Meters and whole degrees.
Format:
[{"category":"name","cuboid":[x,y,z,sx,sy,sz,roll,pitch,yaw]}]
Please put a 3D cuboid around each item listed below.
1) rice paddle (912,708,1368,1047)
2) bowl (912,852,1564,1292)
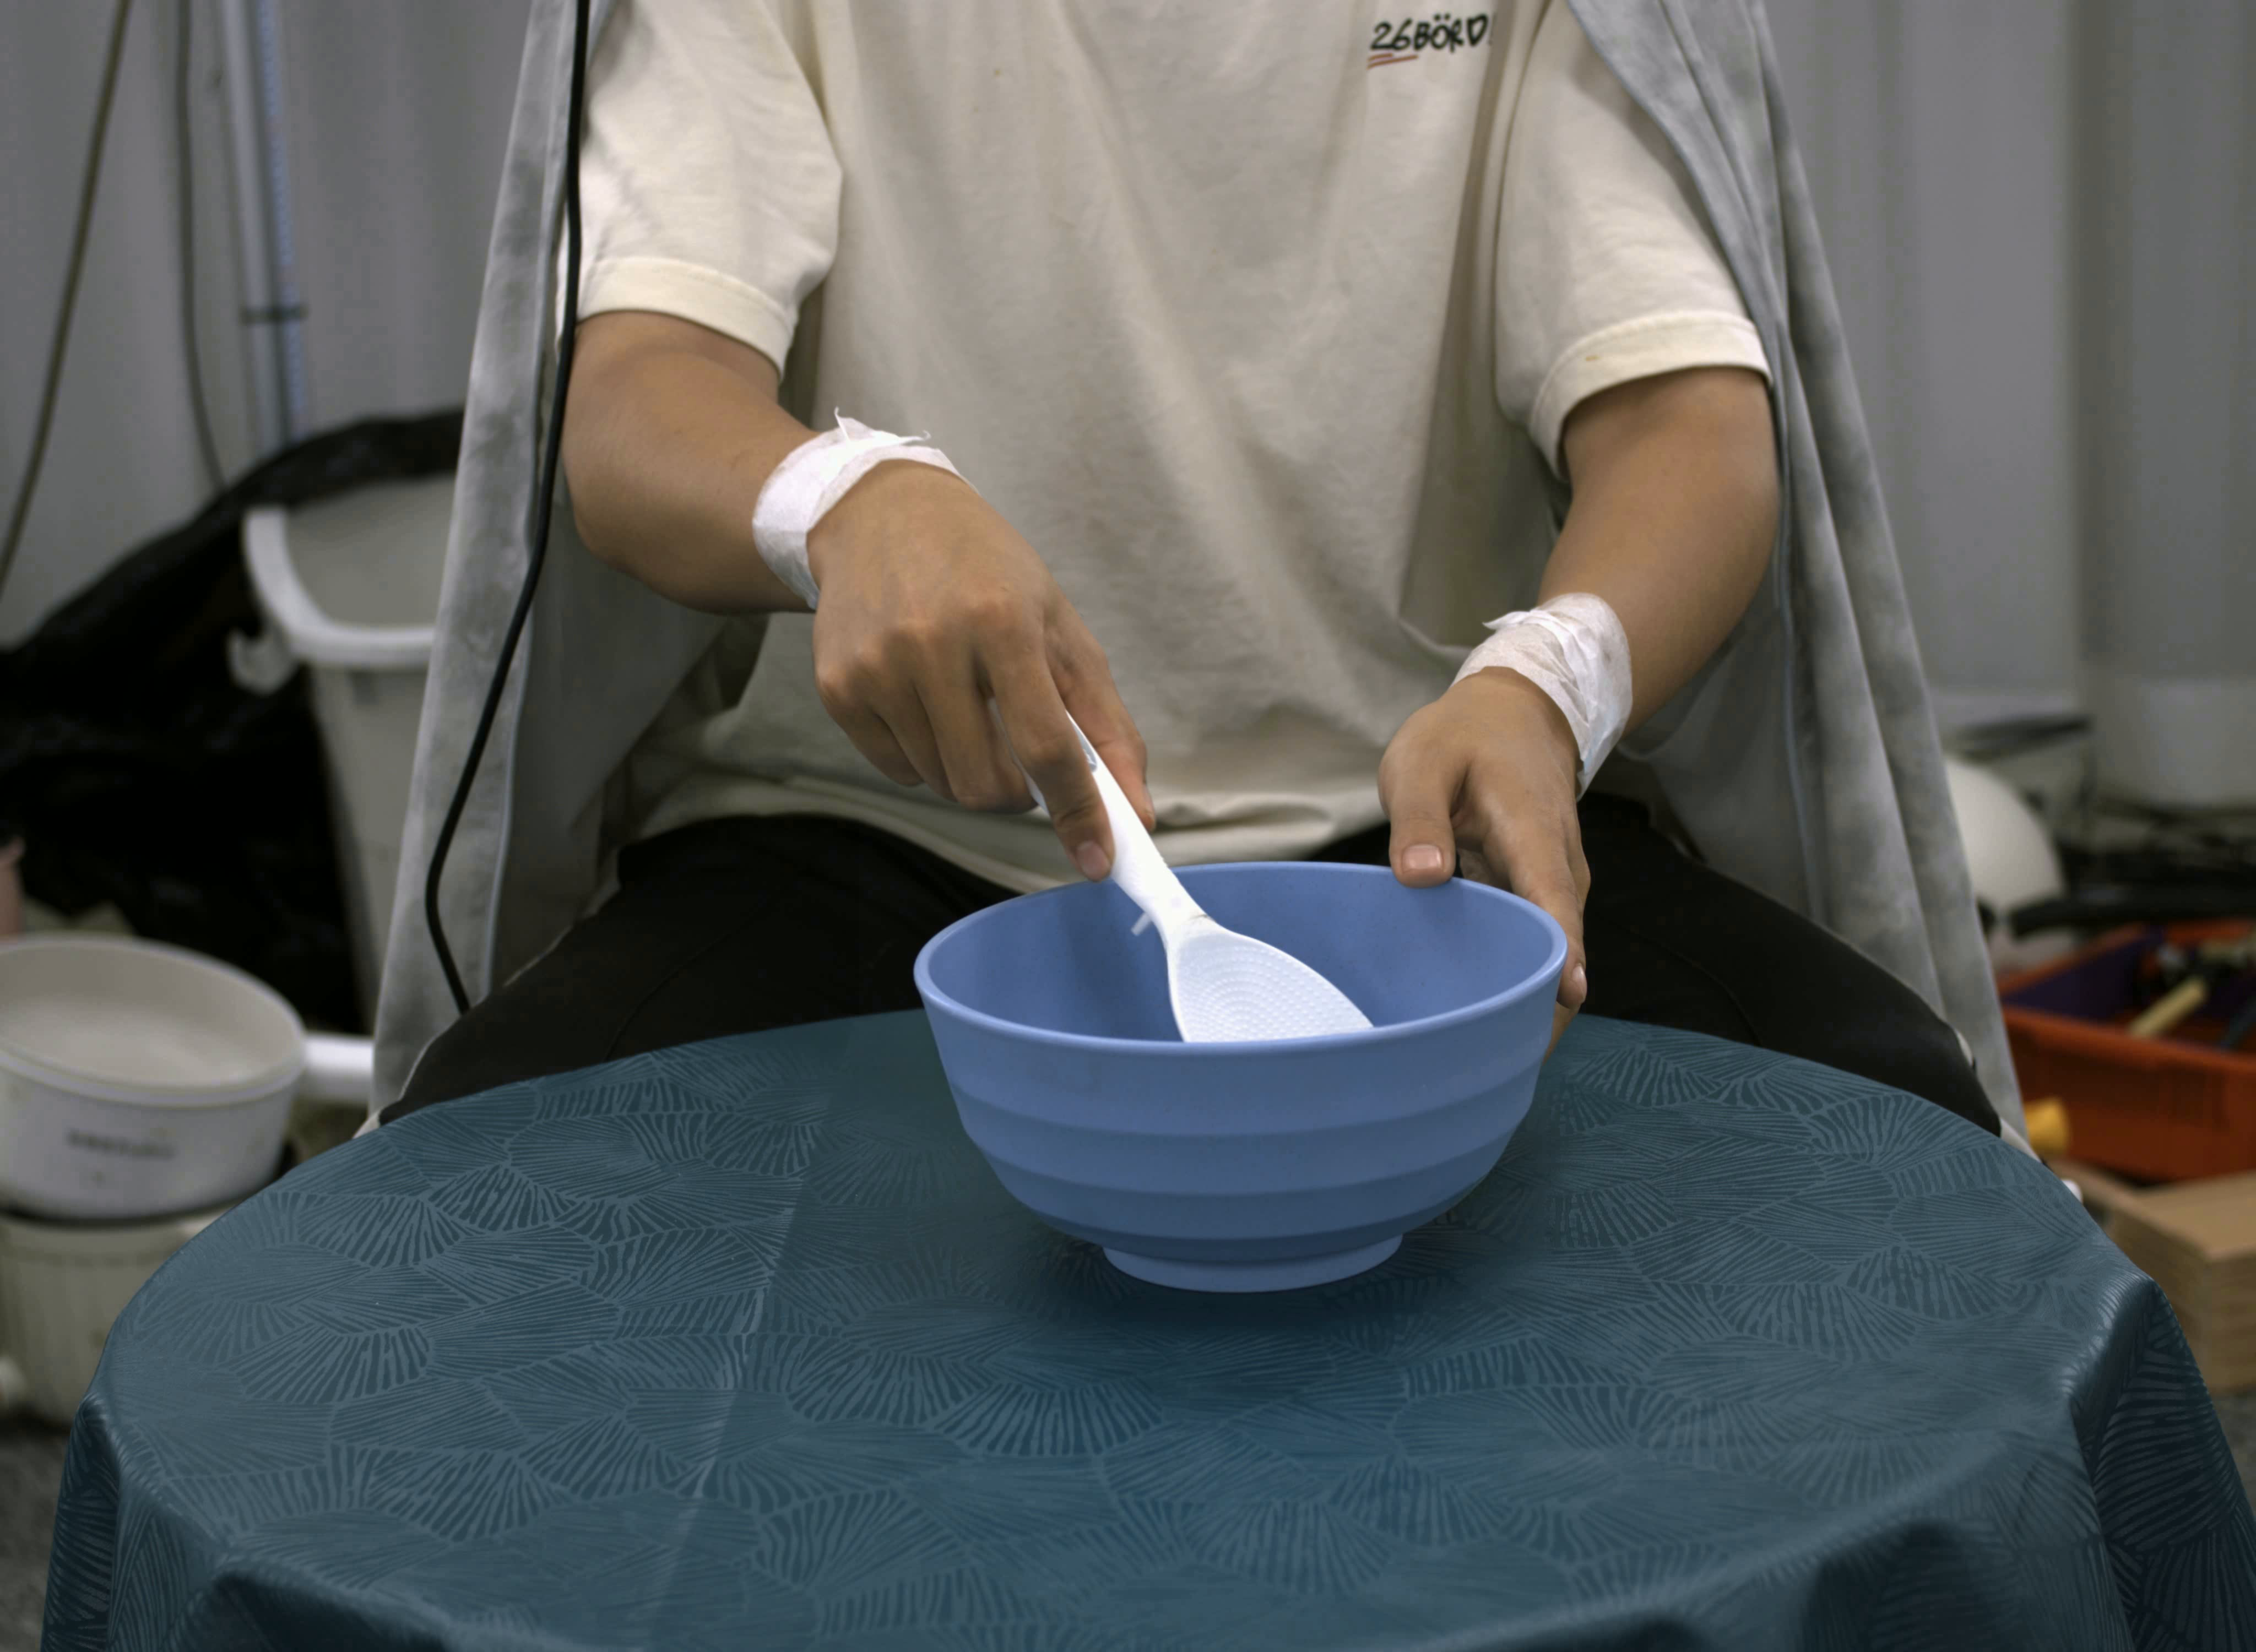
[{"category":"rice paddle","cuboid":[0.019,0.039,1.704,0.206,0.029,0.069,40,33,6]},{"category":"bowl","cuboid":[0.035,0.080,1.654,0.196,0.095,0.198,-4,16,1]}]
